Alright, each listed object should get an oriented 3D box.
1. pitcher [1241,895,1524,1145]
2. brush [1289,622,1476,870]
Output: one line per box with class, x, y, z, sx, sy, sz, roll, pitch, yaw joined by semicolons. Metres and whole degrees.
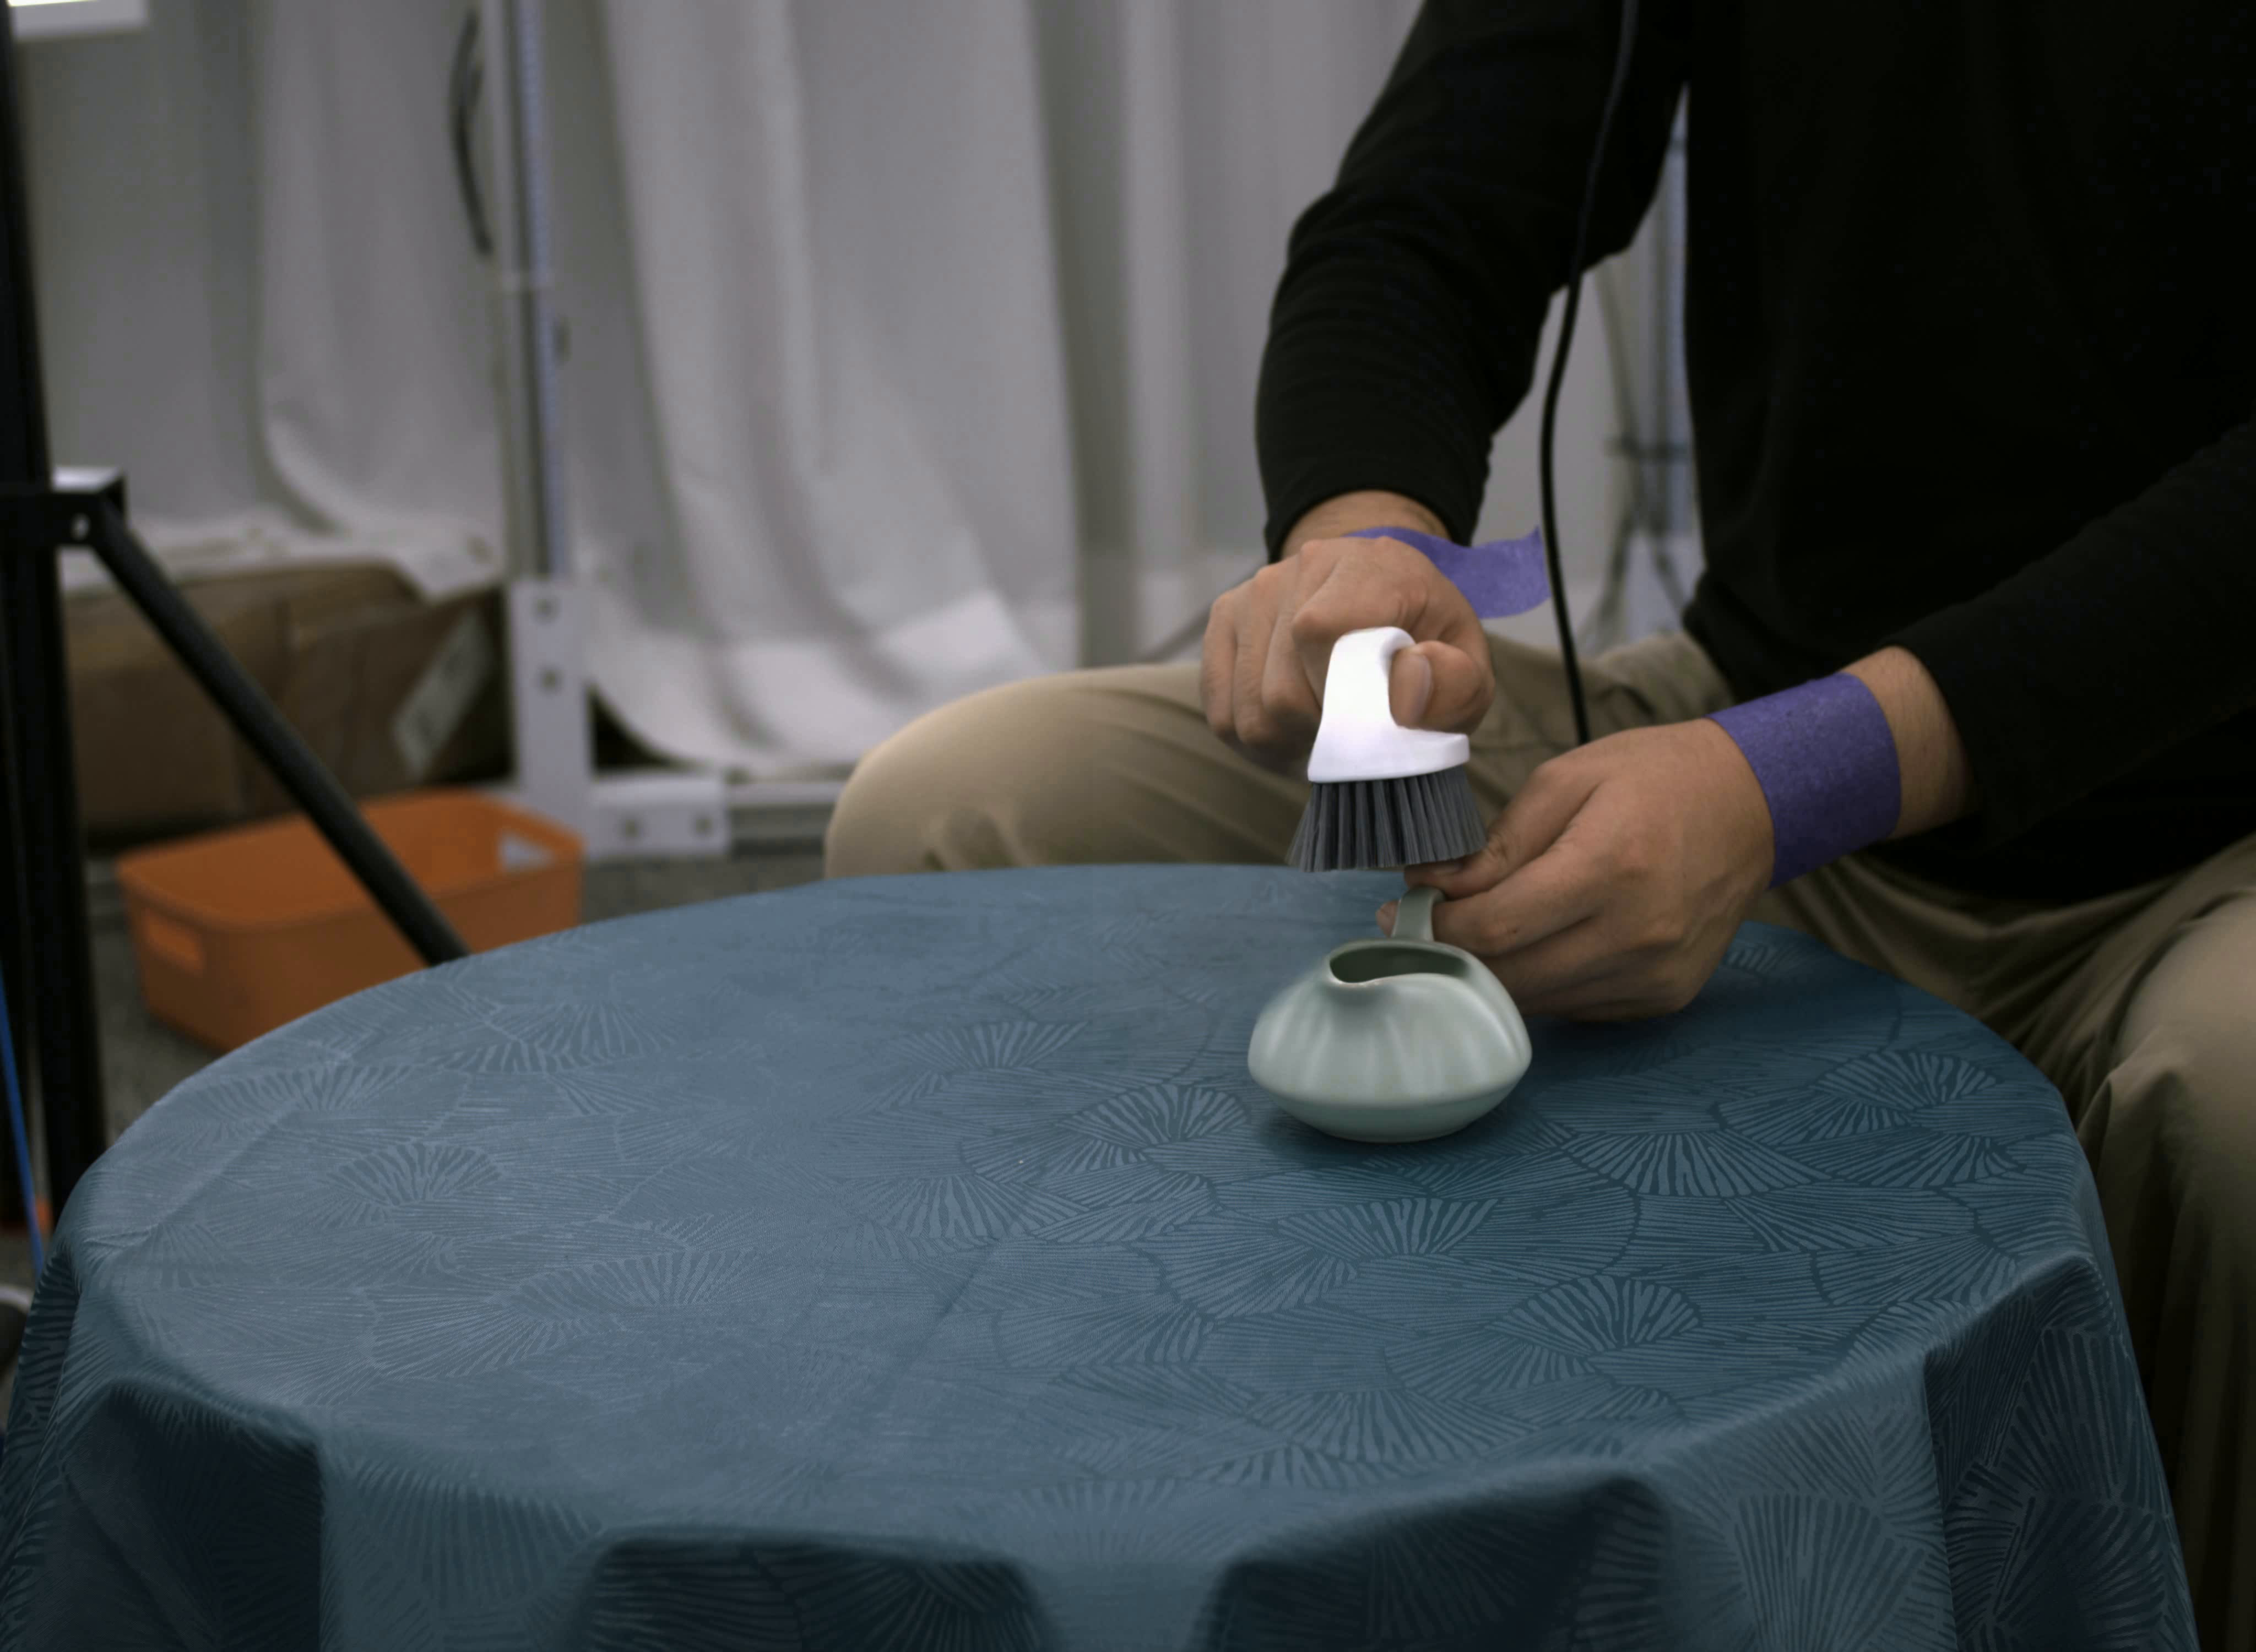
pitcher;0.080;0.060;1.616;0.086;0.060;0.107;2;14;15
brush;0.077;-0.026;1.634;0.050;0.073;0.098;-4;3;15
